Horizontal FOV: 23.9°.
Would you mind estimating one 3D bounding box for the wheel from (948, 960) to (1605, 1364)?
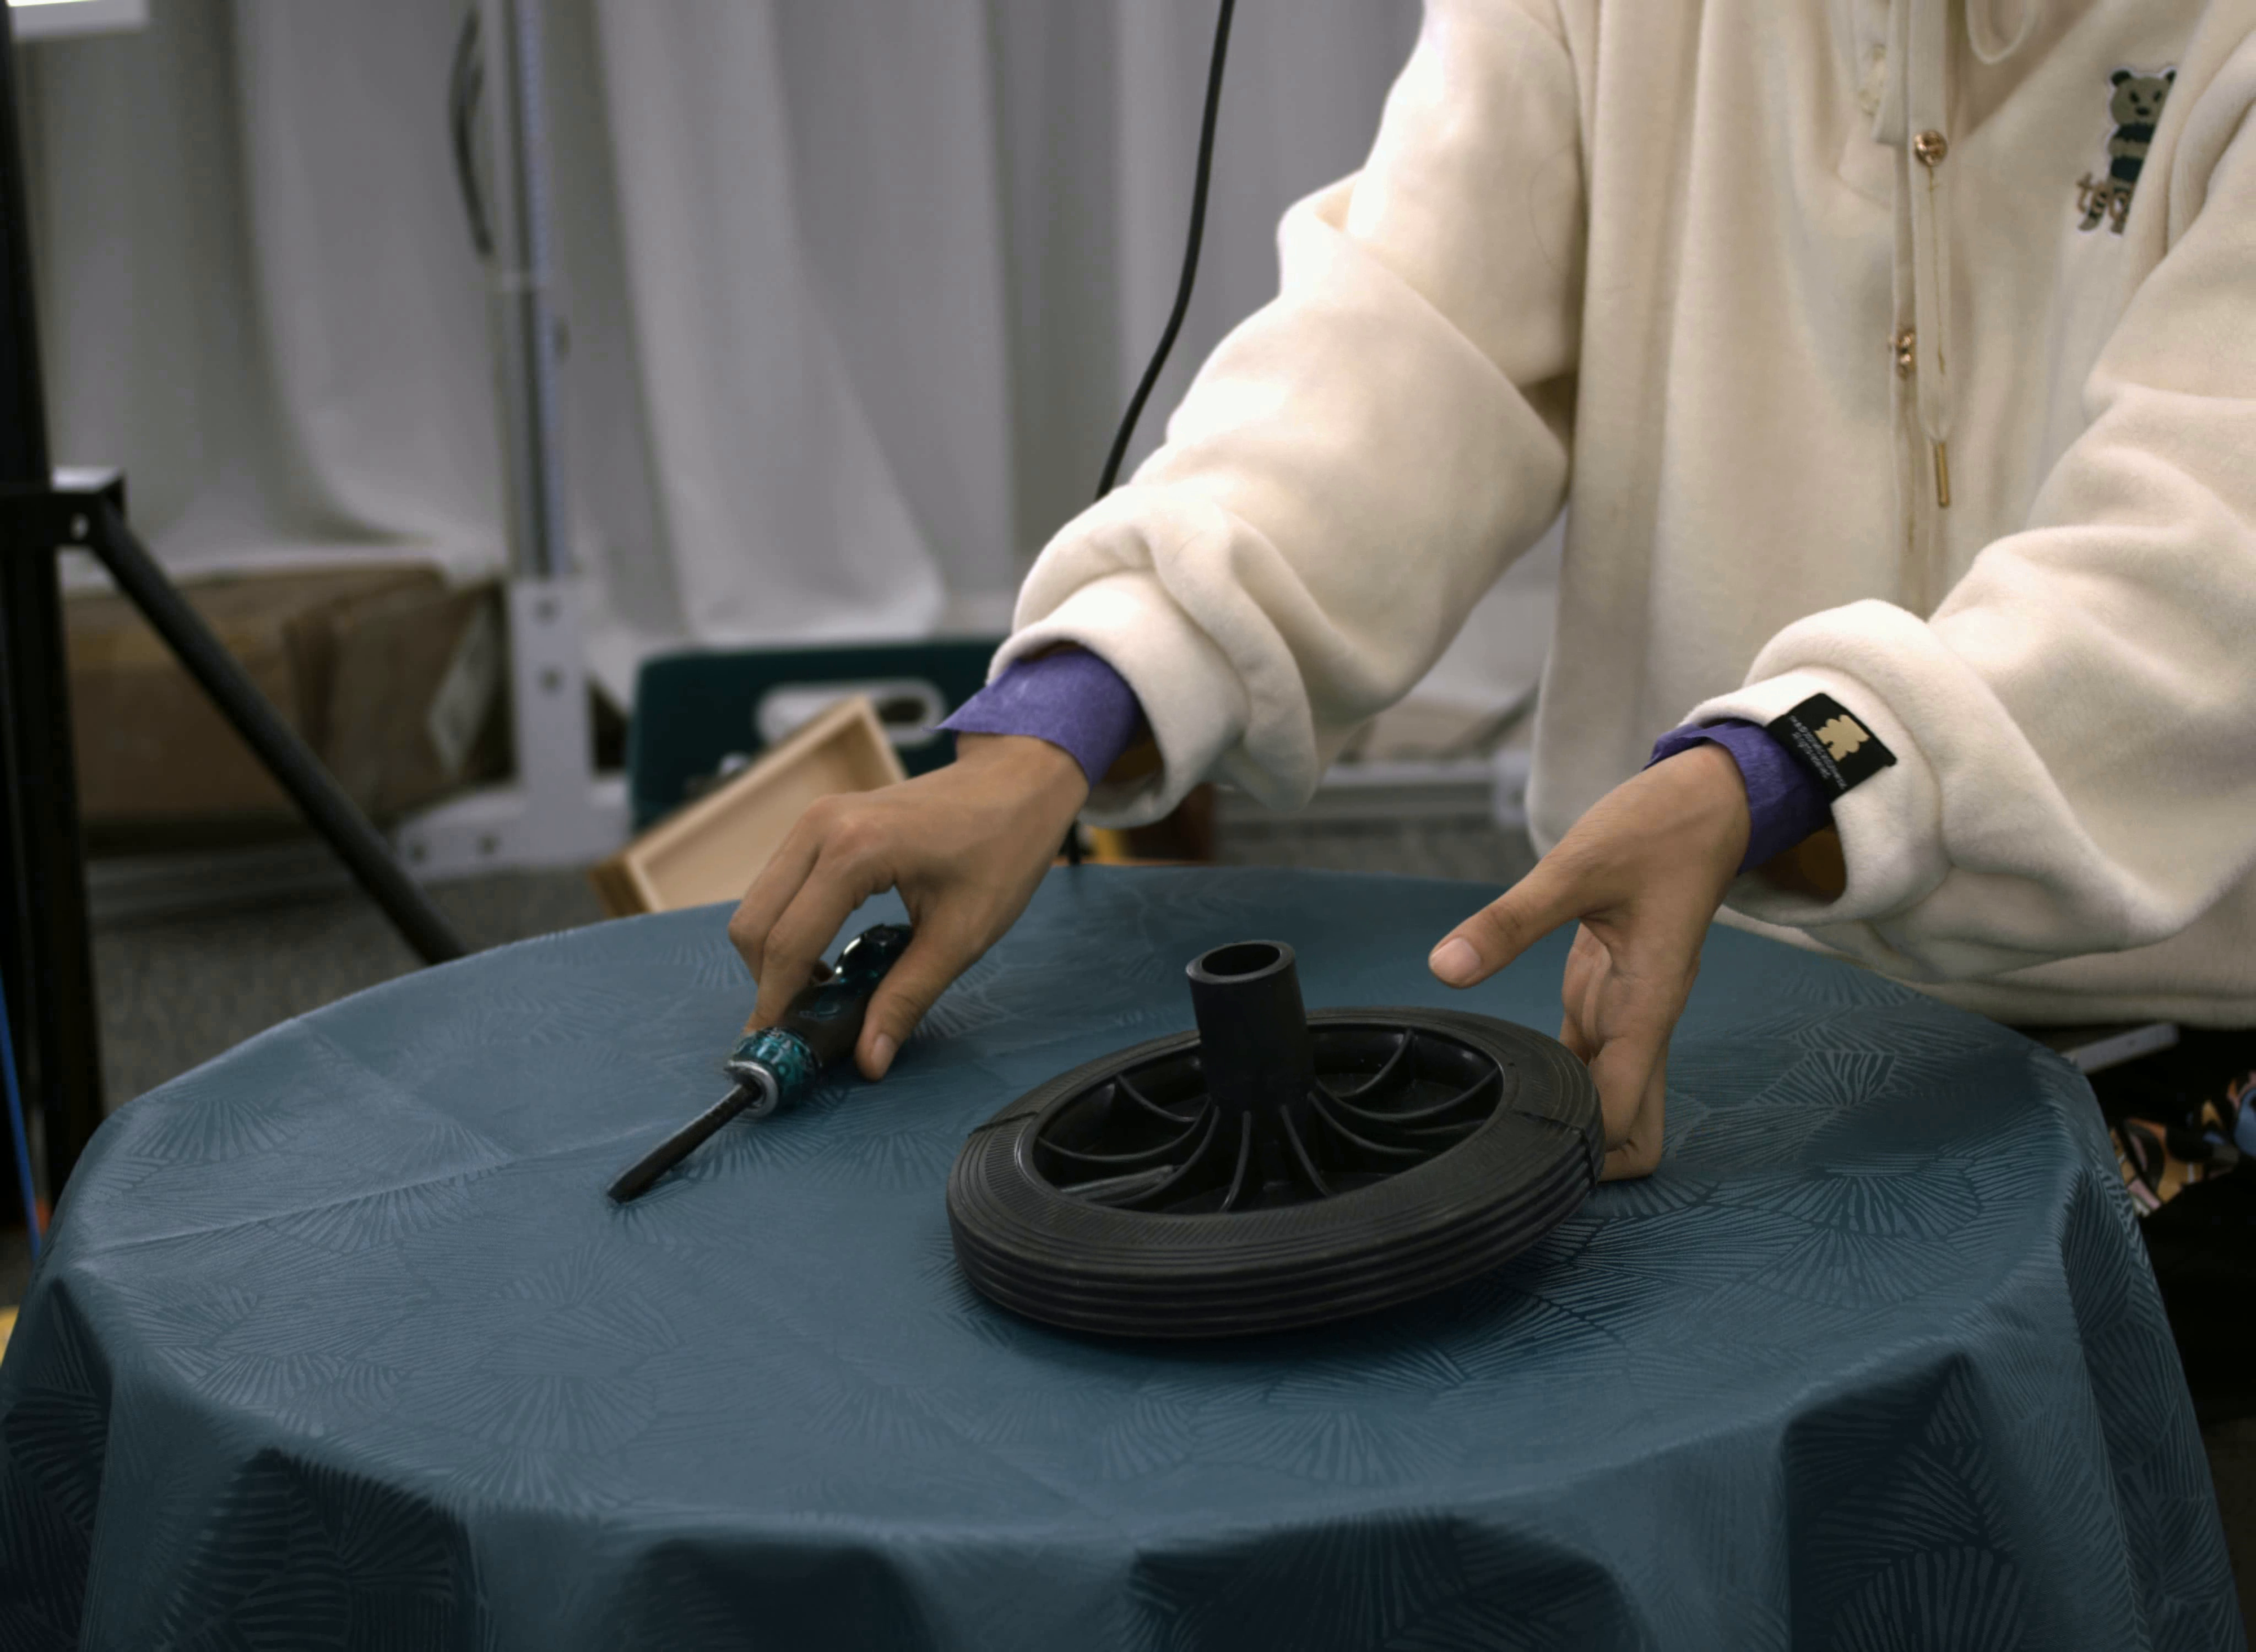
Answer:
[{"bbox_3d":[0.037,0.081,1.492,0.186,0.079,0.191,-23,22,-27],"label":"wheel"}]

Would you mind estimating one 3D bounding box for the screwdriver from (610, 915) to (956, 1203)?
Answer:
[{"bbox_3d":[-0.108,0.075,1.648,0.034,0.033,0.187,6,26,28],"label":"screwdriver"}]
